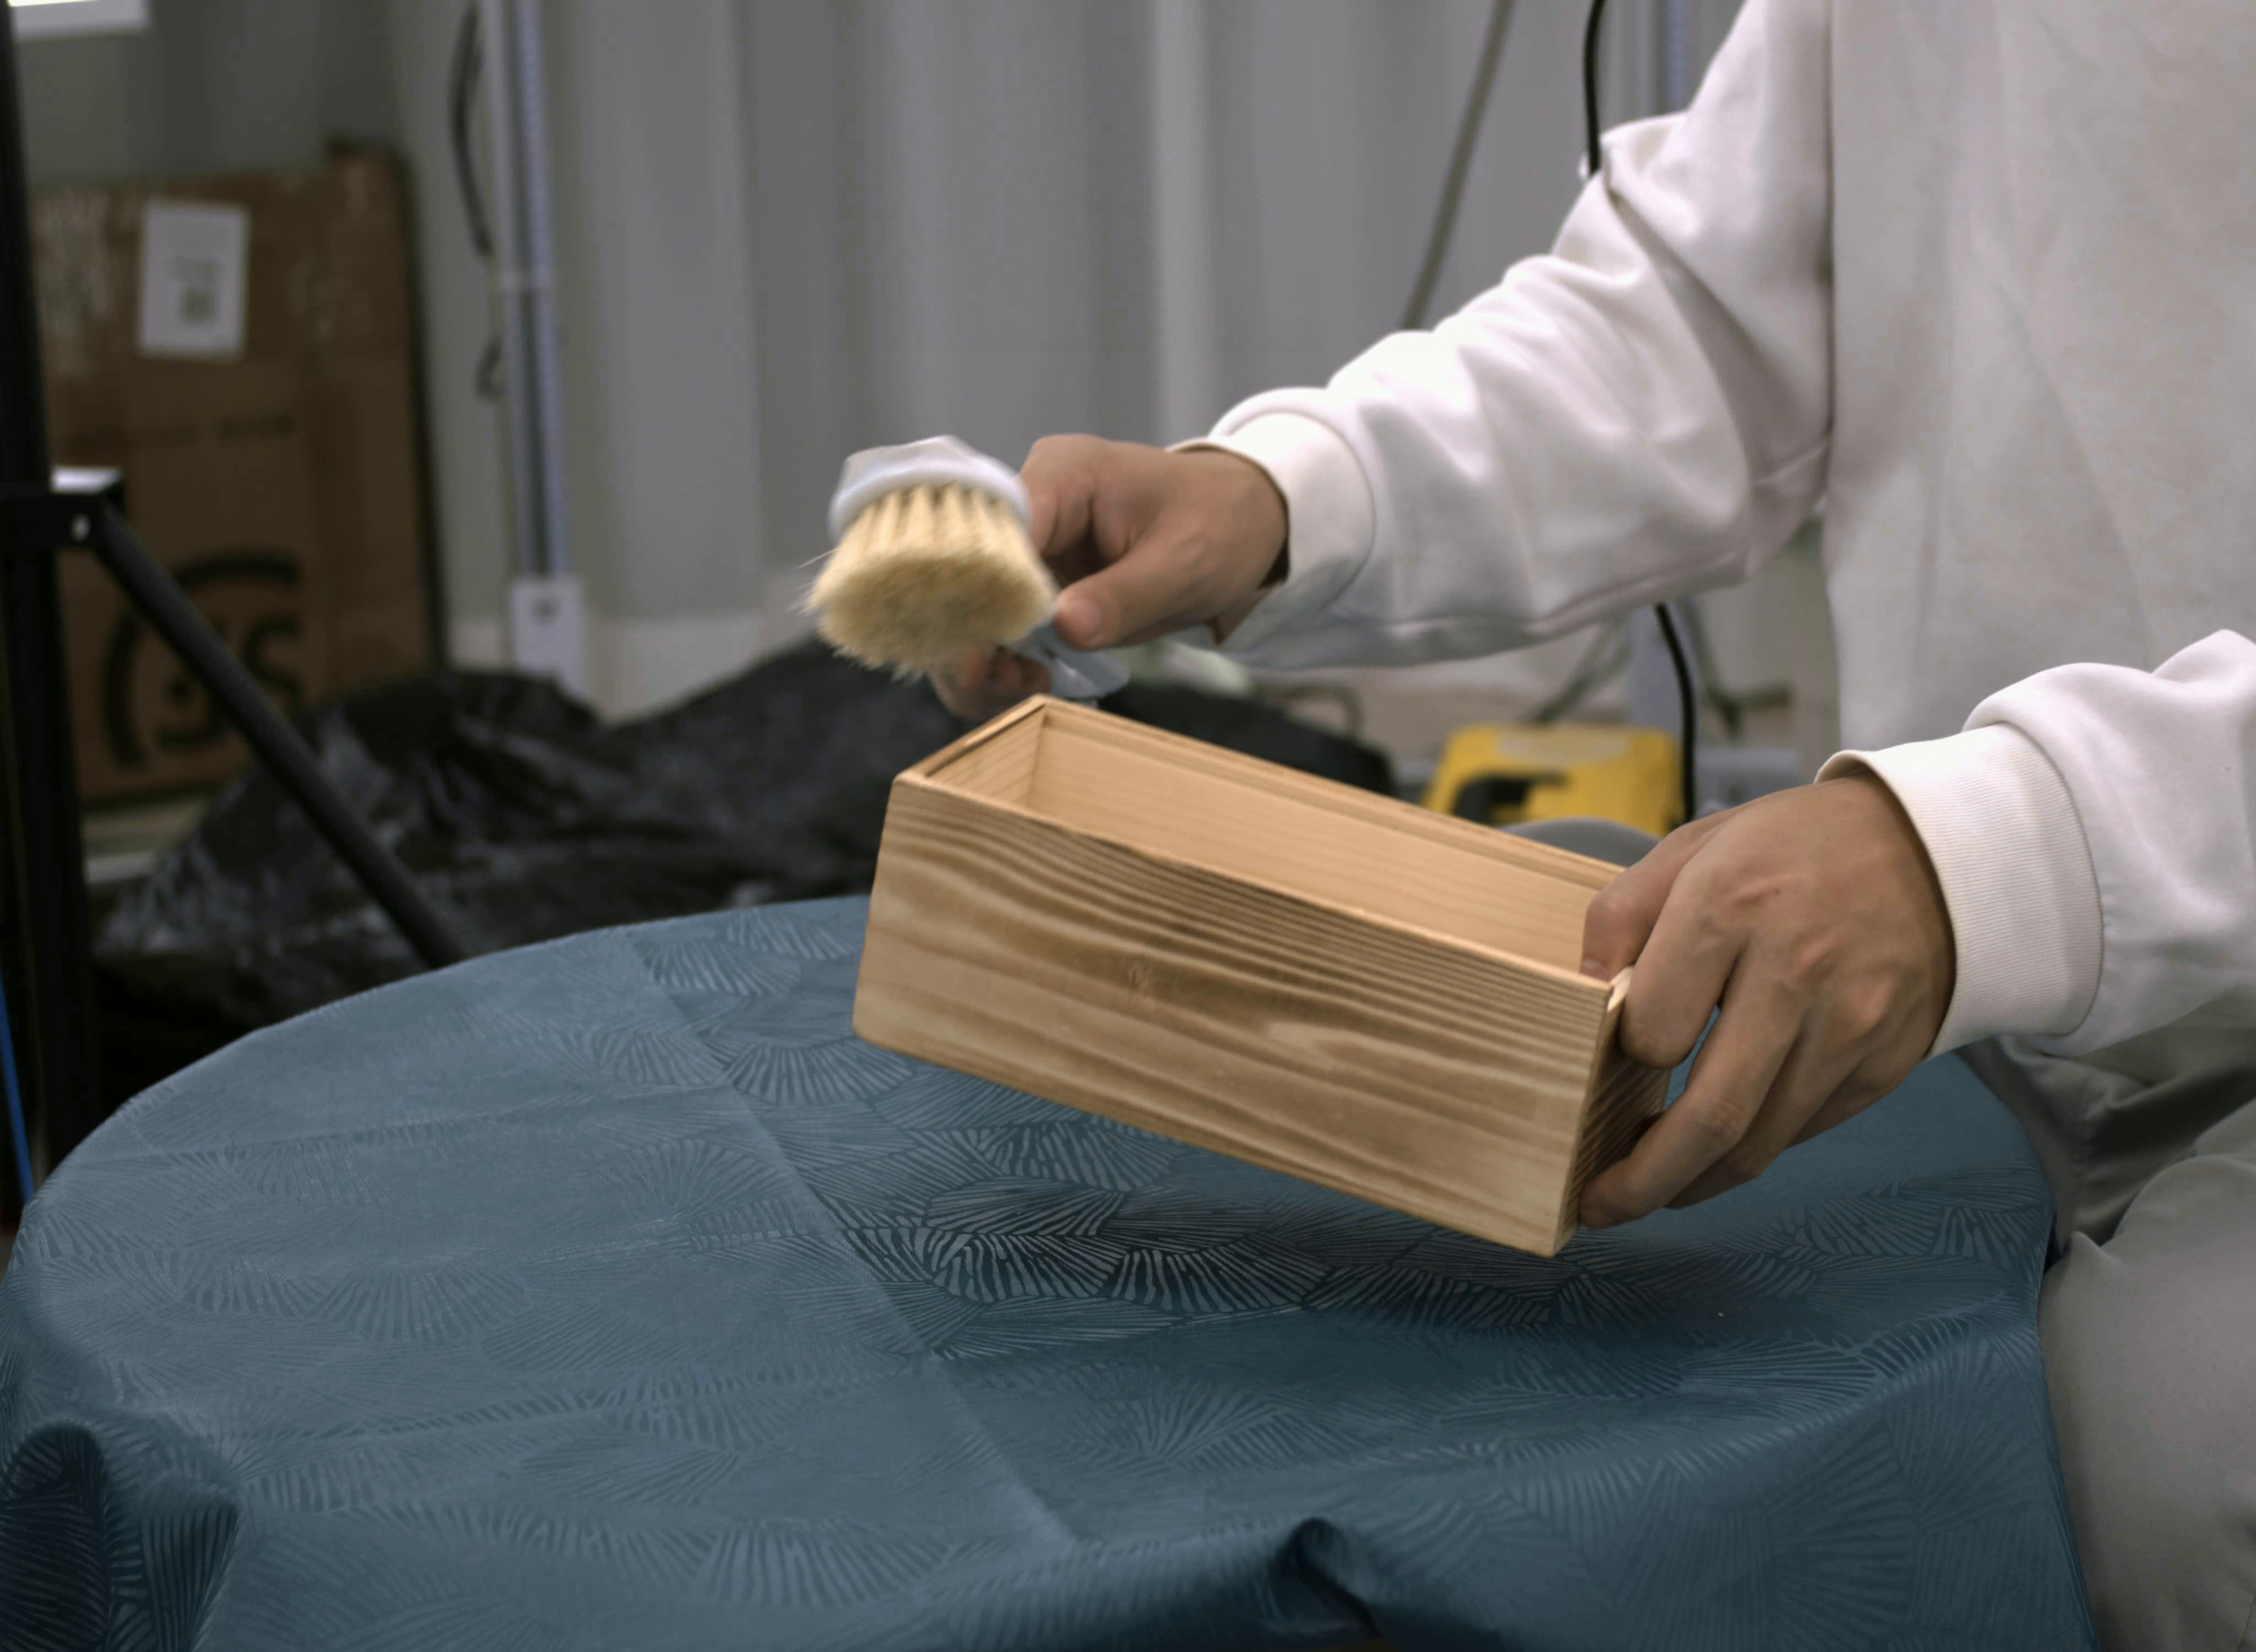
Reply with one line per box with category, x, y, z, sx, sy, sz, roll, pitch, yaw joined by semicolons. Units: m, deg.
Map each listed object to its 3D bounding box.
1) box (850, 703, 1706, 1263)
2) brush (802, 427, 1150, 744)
box;0.042;0.041;1.487;0.214;0.080;0.106;16;19;18
brush;-0.036;-0.051;1.679;0.069;0.056;0.262;4;-18;16
